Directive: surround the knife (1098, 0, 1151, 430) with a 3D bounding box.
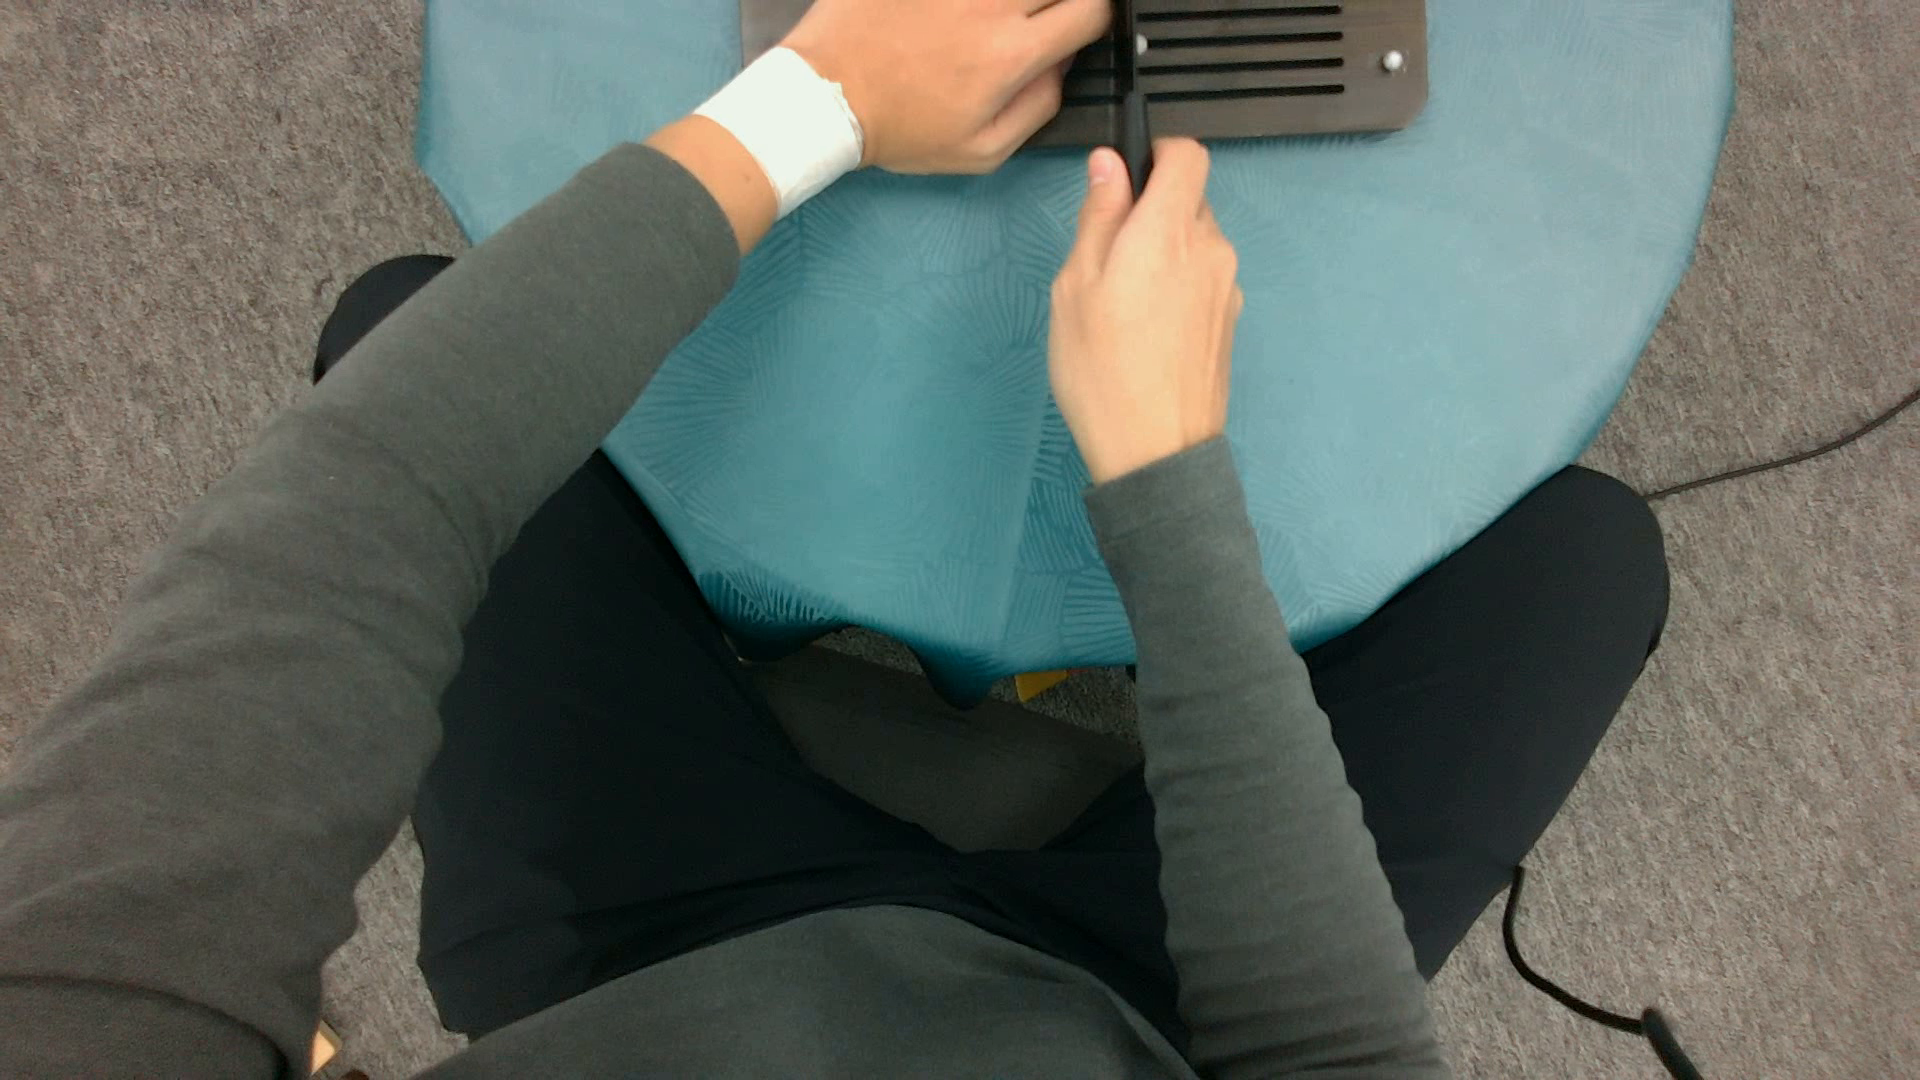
[{"bbox_3d":[0.065,-0.197,0.575,0.021,0.081,0.302,0,85,-3],"label":"knife"}]

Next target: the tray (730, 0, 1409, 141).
[{"bbox_3d":[0.049,-0.270,0.622,0.306,0.018,0.170,-3,93,-2],"label":"tray"}]
